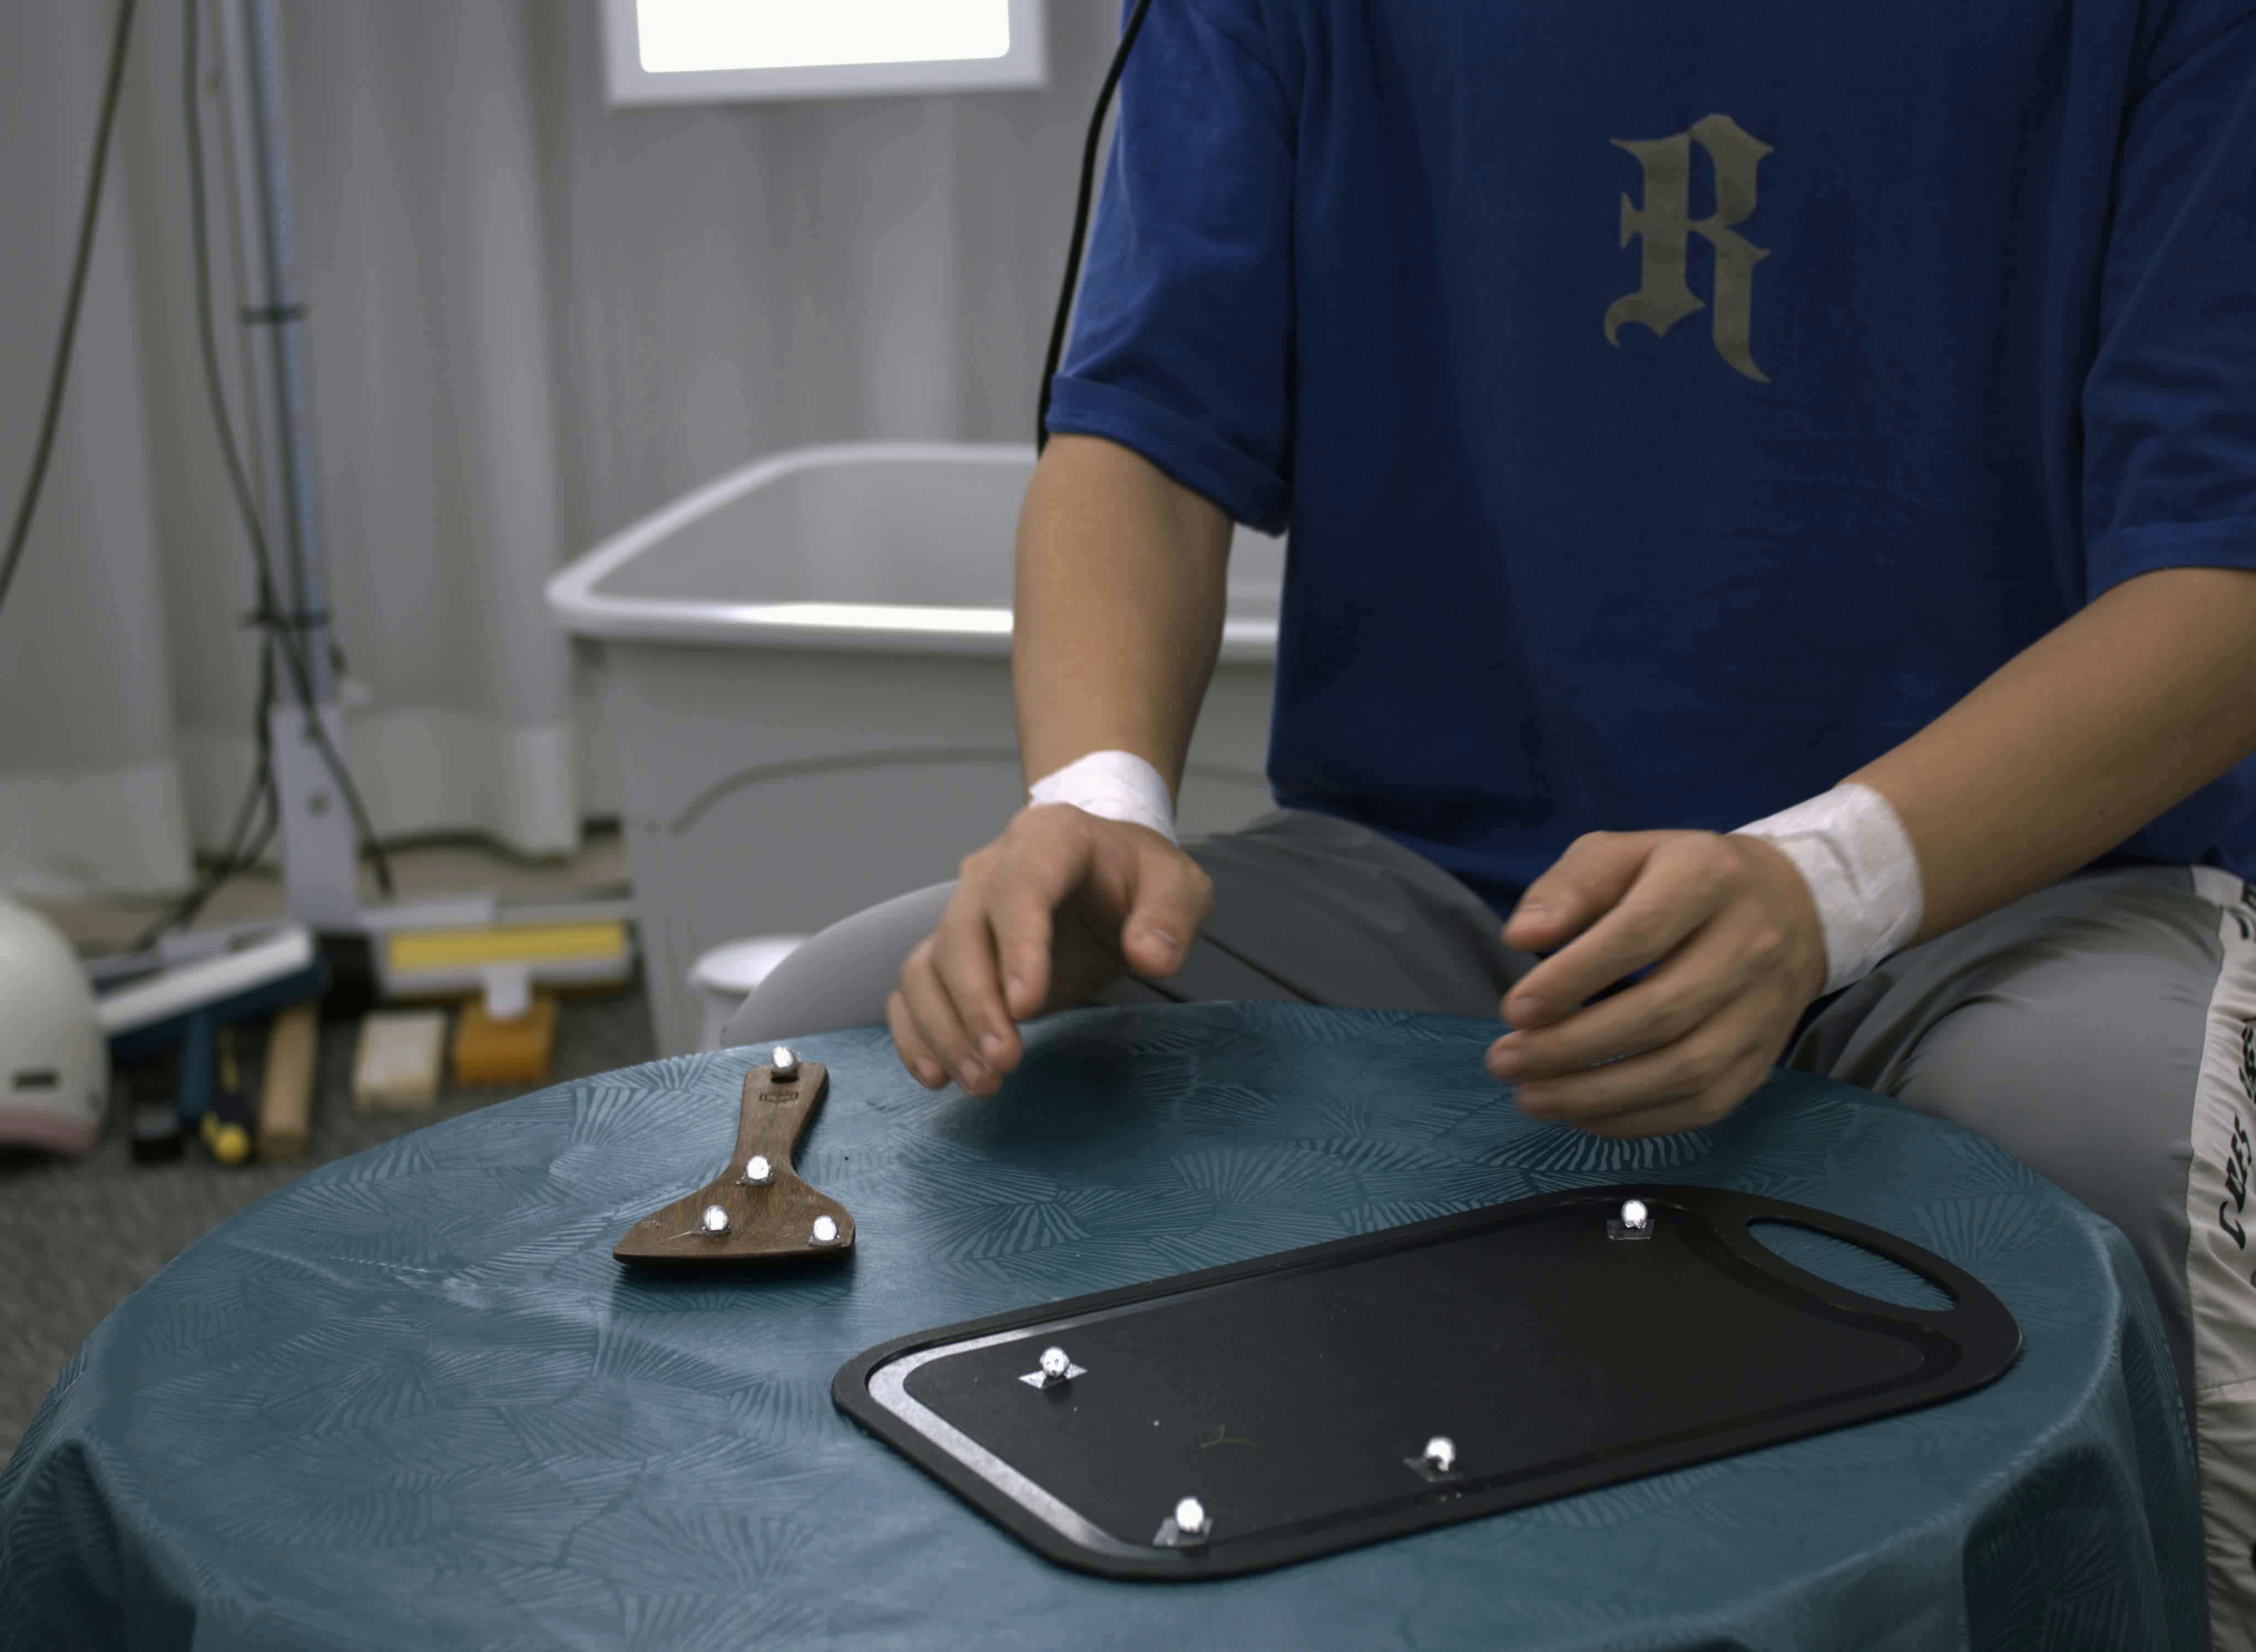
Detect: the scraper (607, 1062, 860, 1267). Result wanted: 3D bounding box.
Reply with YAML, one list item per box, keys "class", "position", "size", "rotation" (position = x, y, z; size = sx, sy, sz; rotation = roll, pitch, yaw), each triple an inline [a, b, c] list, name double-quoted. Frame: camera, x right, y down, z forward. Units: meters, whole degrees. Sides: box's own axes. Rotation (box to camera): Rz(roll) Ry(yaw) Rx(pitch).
- class: "scraper"
  position: [-0.117, 0.108, 1.743]
  size: [0.075, 0.011, 0.212]
  rotation: [-1, 14, 2]

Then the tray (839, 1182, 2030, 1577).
- class: "tray"
  position: [0.092, 0.149, 1.549]
  size: [0.324, 0.010, 0.213]
  rotation: [-10, 16, -25]
